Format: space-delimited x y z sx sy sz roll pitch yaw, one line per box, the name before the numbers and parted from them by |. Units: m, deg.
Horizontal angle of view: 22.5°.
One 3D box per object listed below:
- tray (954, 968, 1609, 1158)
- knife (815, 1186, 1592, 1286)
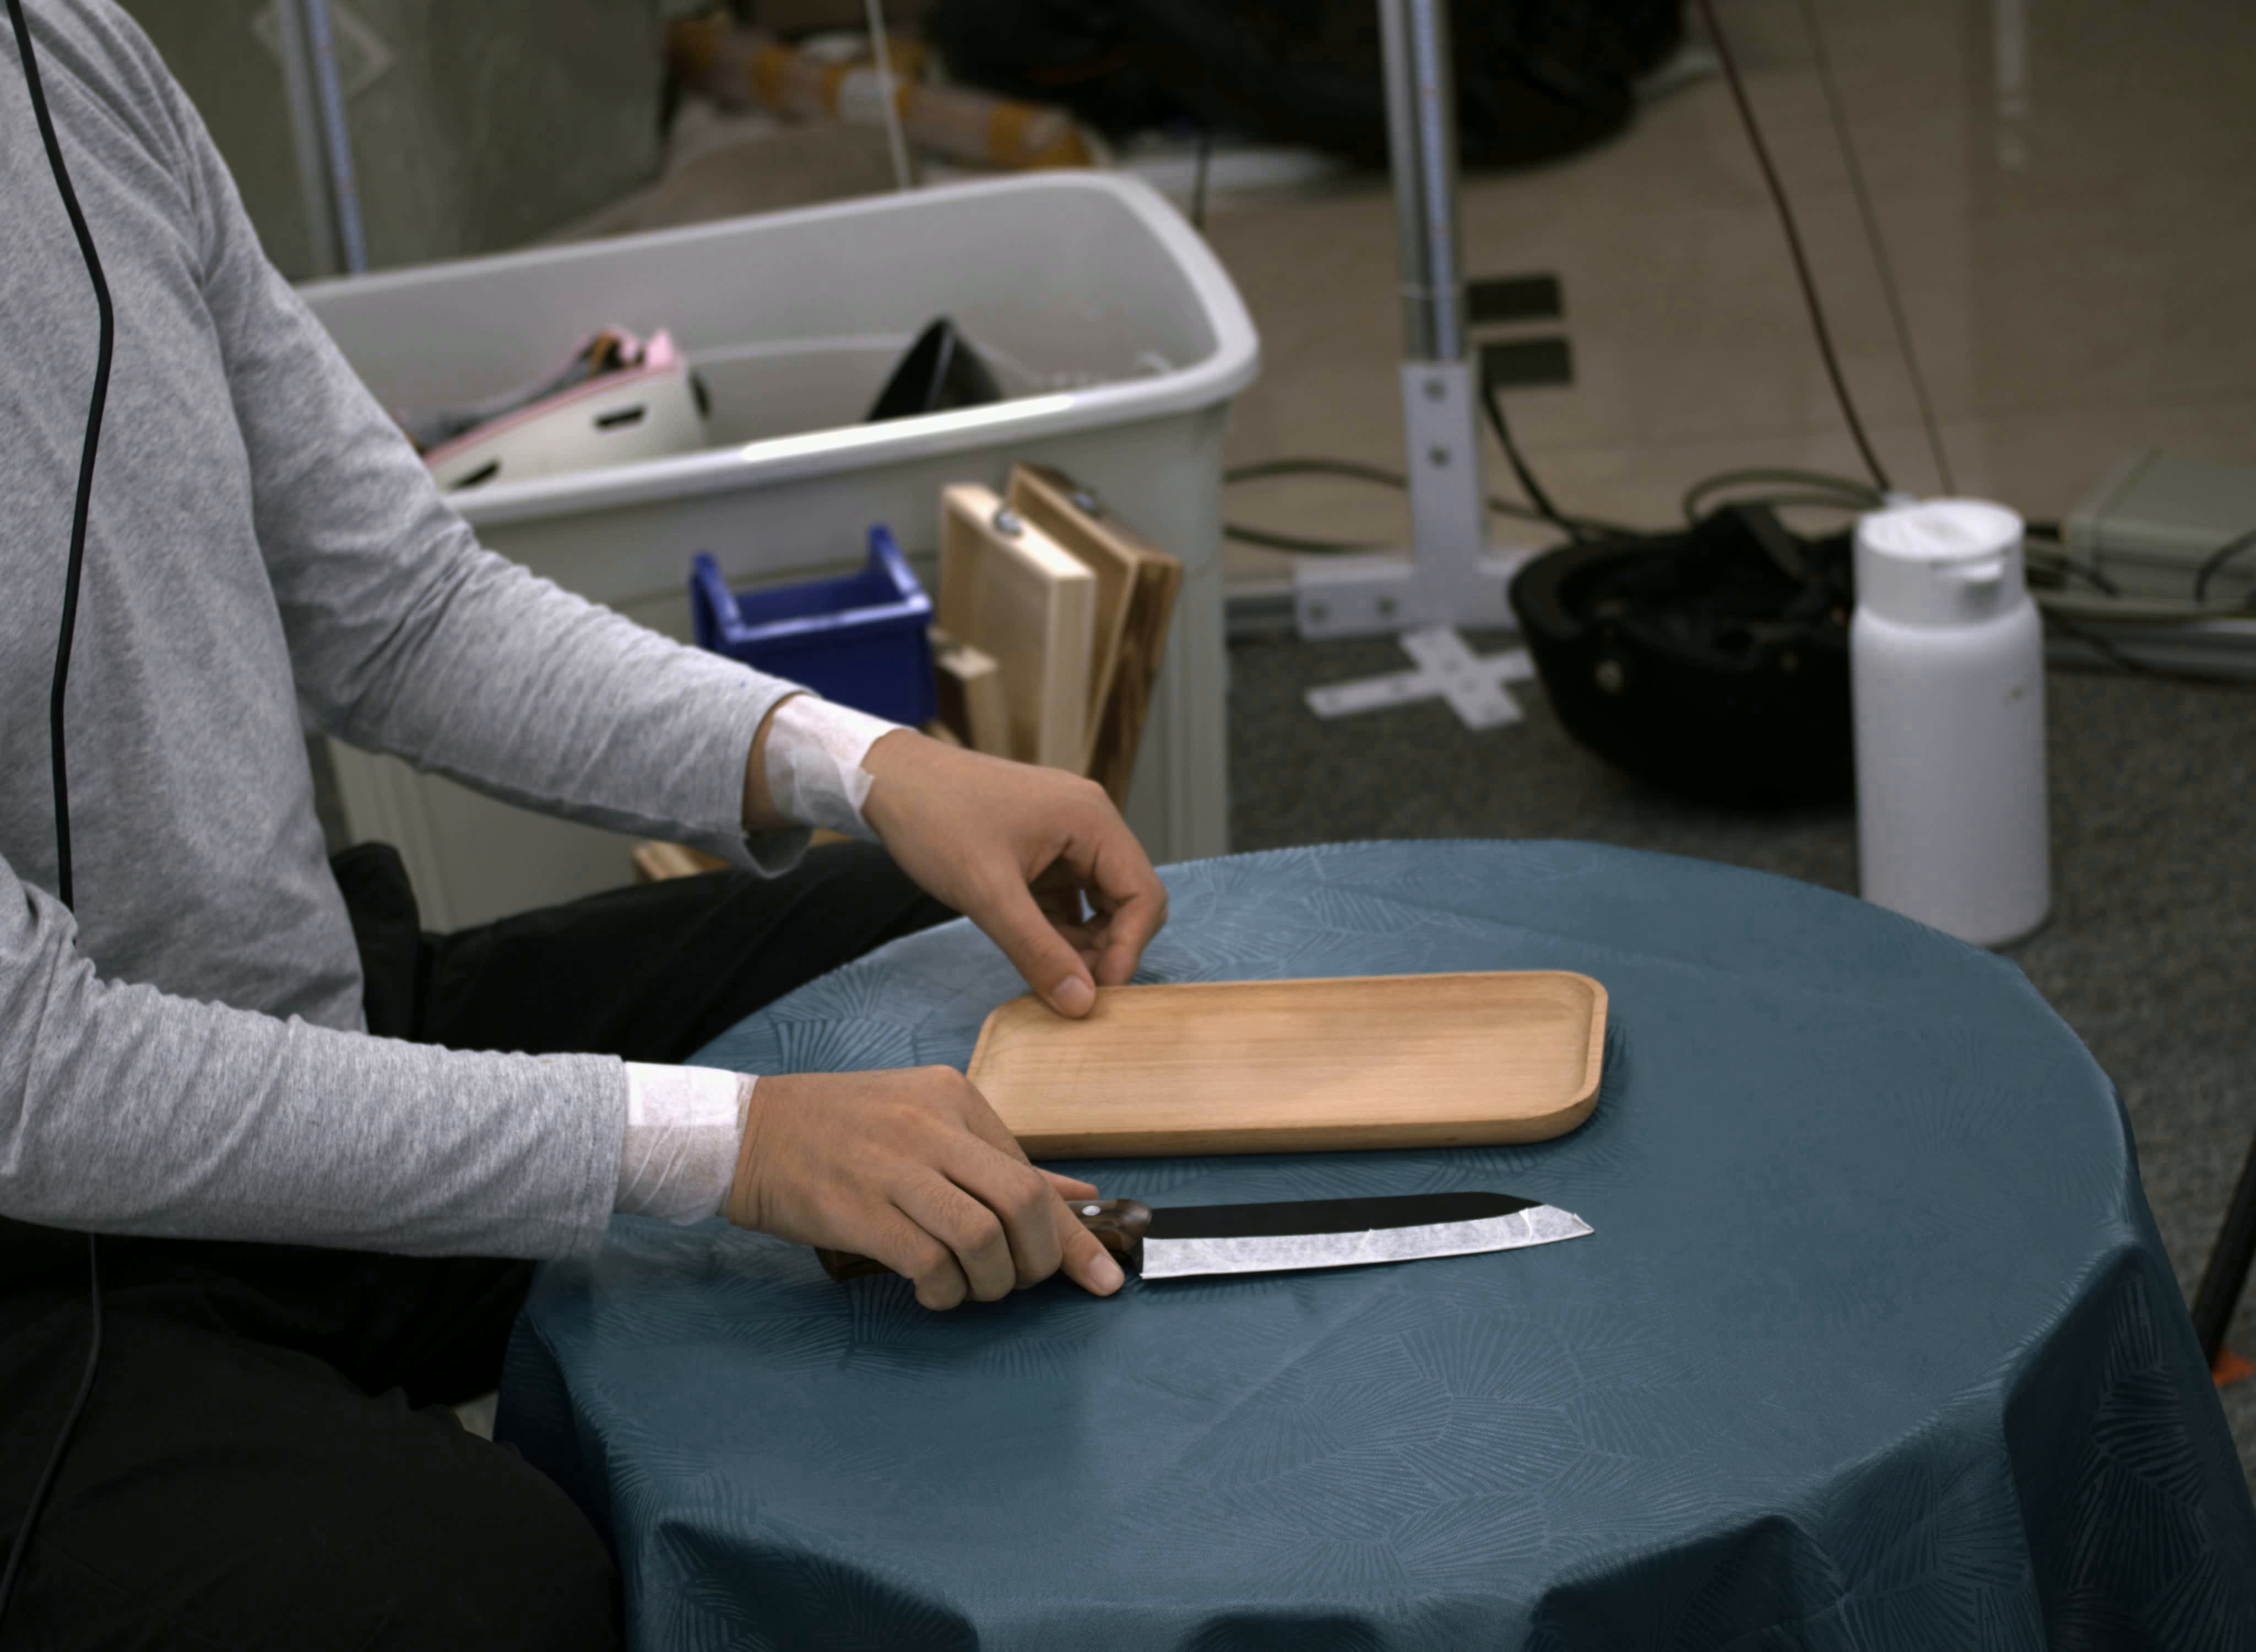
tray | 0.061 0.093 2.216 0.250 0.023 0.129 -2 23 11
knife | 0.027 0.152 2.099 0.288 0.020 0.049 -2 32 4
